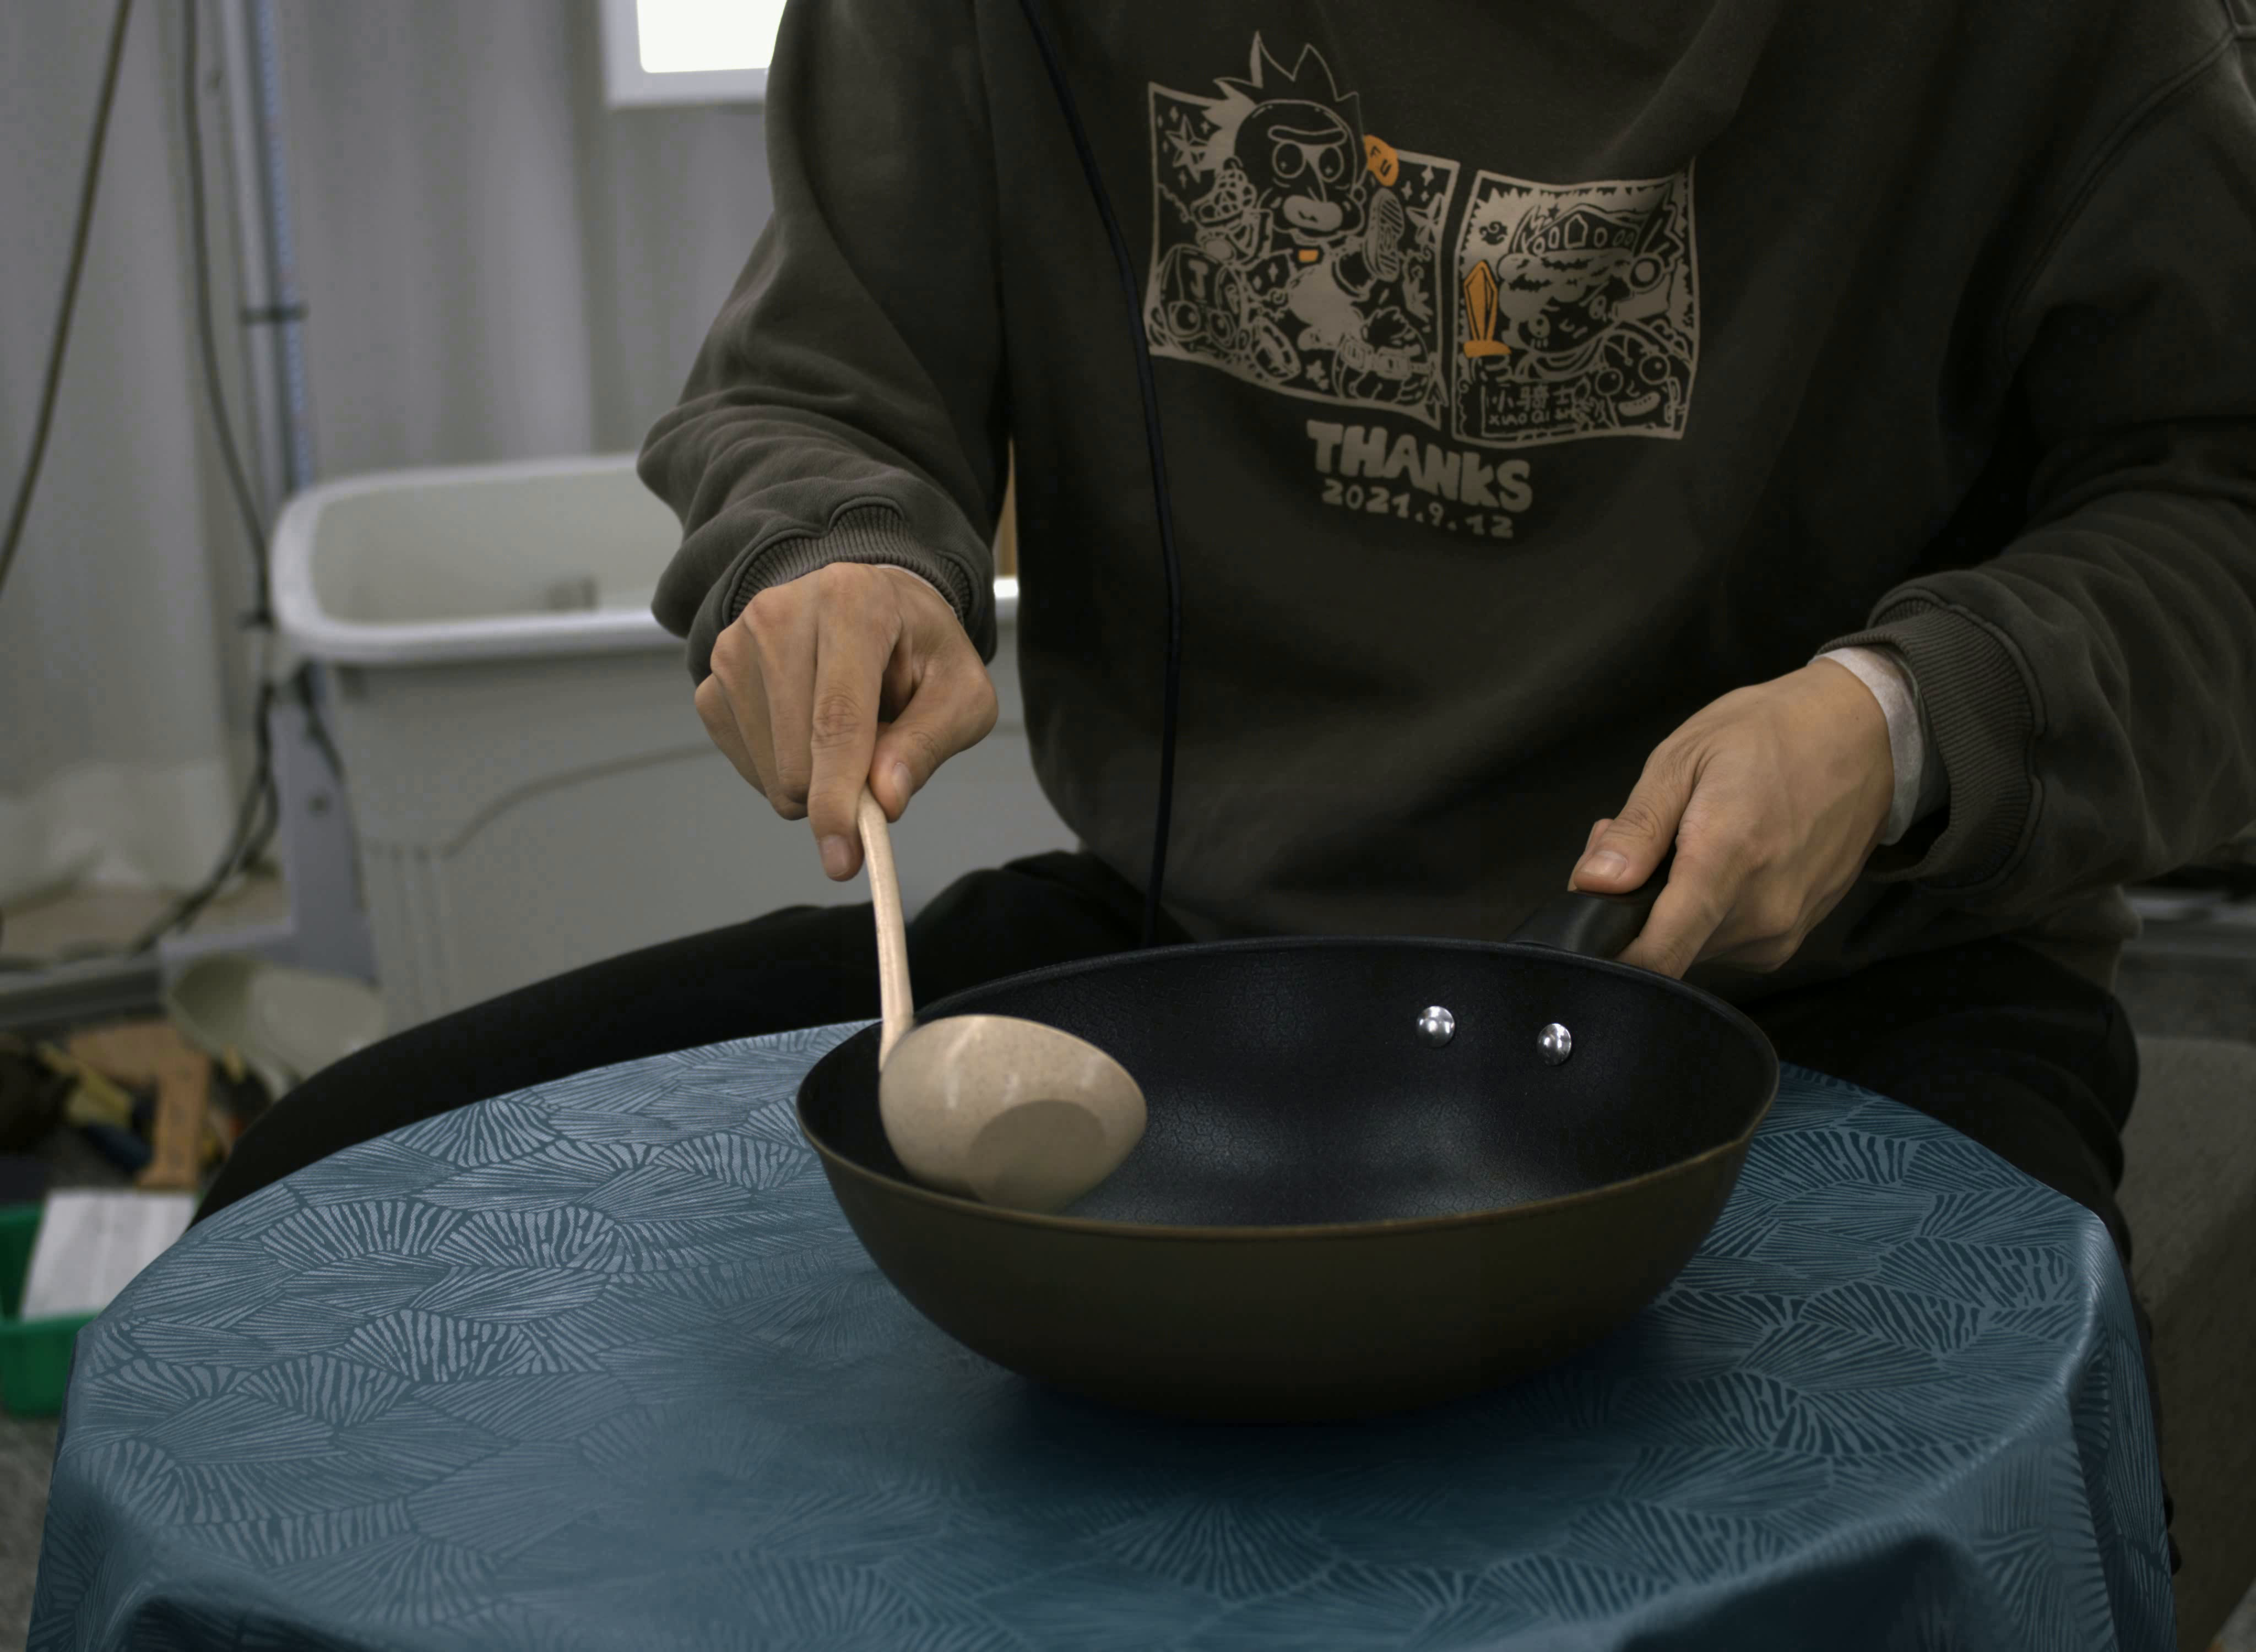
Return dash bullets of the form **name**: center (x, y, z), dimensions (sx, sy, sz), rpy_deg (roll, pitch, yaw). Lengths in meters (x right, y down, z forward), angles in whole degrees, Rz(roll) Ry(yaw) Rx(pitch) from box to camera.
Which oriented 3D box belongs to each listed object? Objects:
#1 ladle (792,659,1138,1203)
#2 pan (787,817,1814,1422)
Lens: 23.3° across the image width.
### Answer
- **ladle**: center (-0.051, 0.012, 1.586), dimensions (0.072, 0.071, 0.258), rpy_deg (-37, 38, 18)
- **pan**: center (0.092, 0.086, 1.652), dimensions (0.289, 0.086, 0.463), rpy_deg (6, 17, 31)
